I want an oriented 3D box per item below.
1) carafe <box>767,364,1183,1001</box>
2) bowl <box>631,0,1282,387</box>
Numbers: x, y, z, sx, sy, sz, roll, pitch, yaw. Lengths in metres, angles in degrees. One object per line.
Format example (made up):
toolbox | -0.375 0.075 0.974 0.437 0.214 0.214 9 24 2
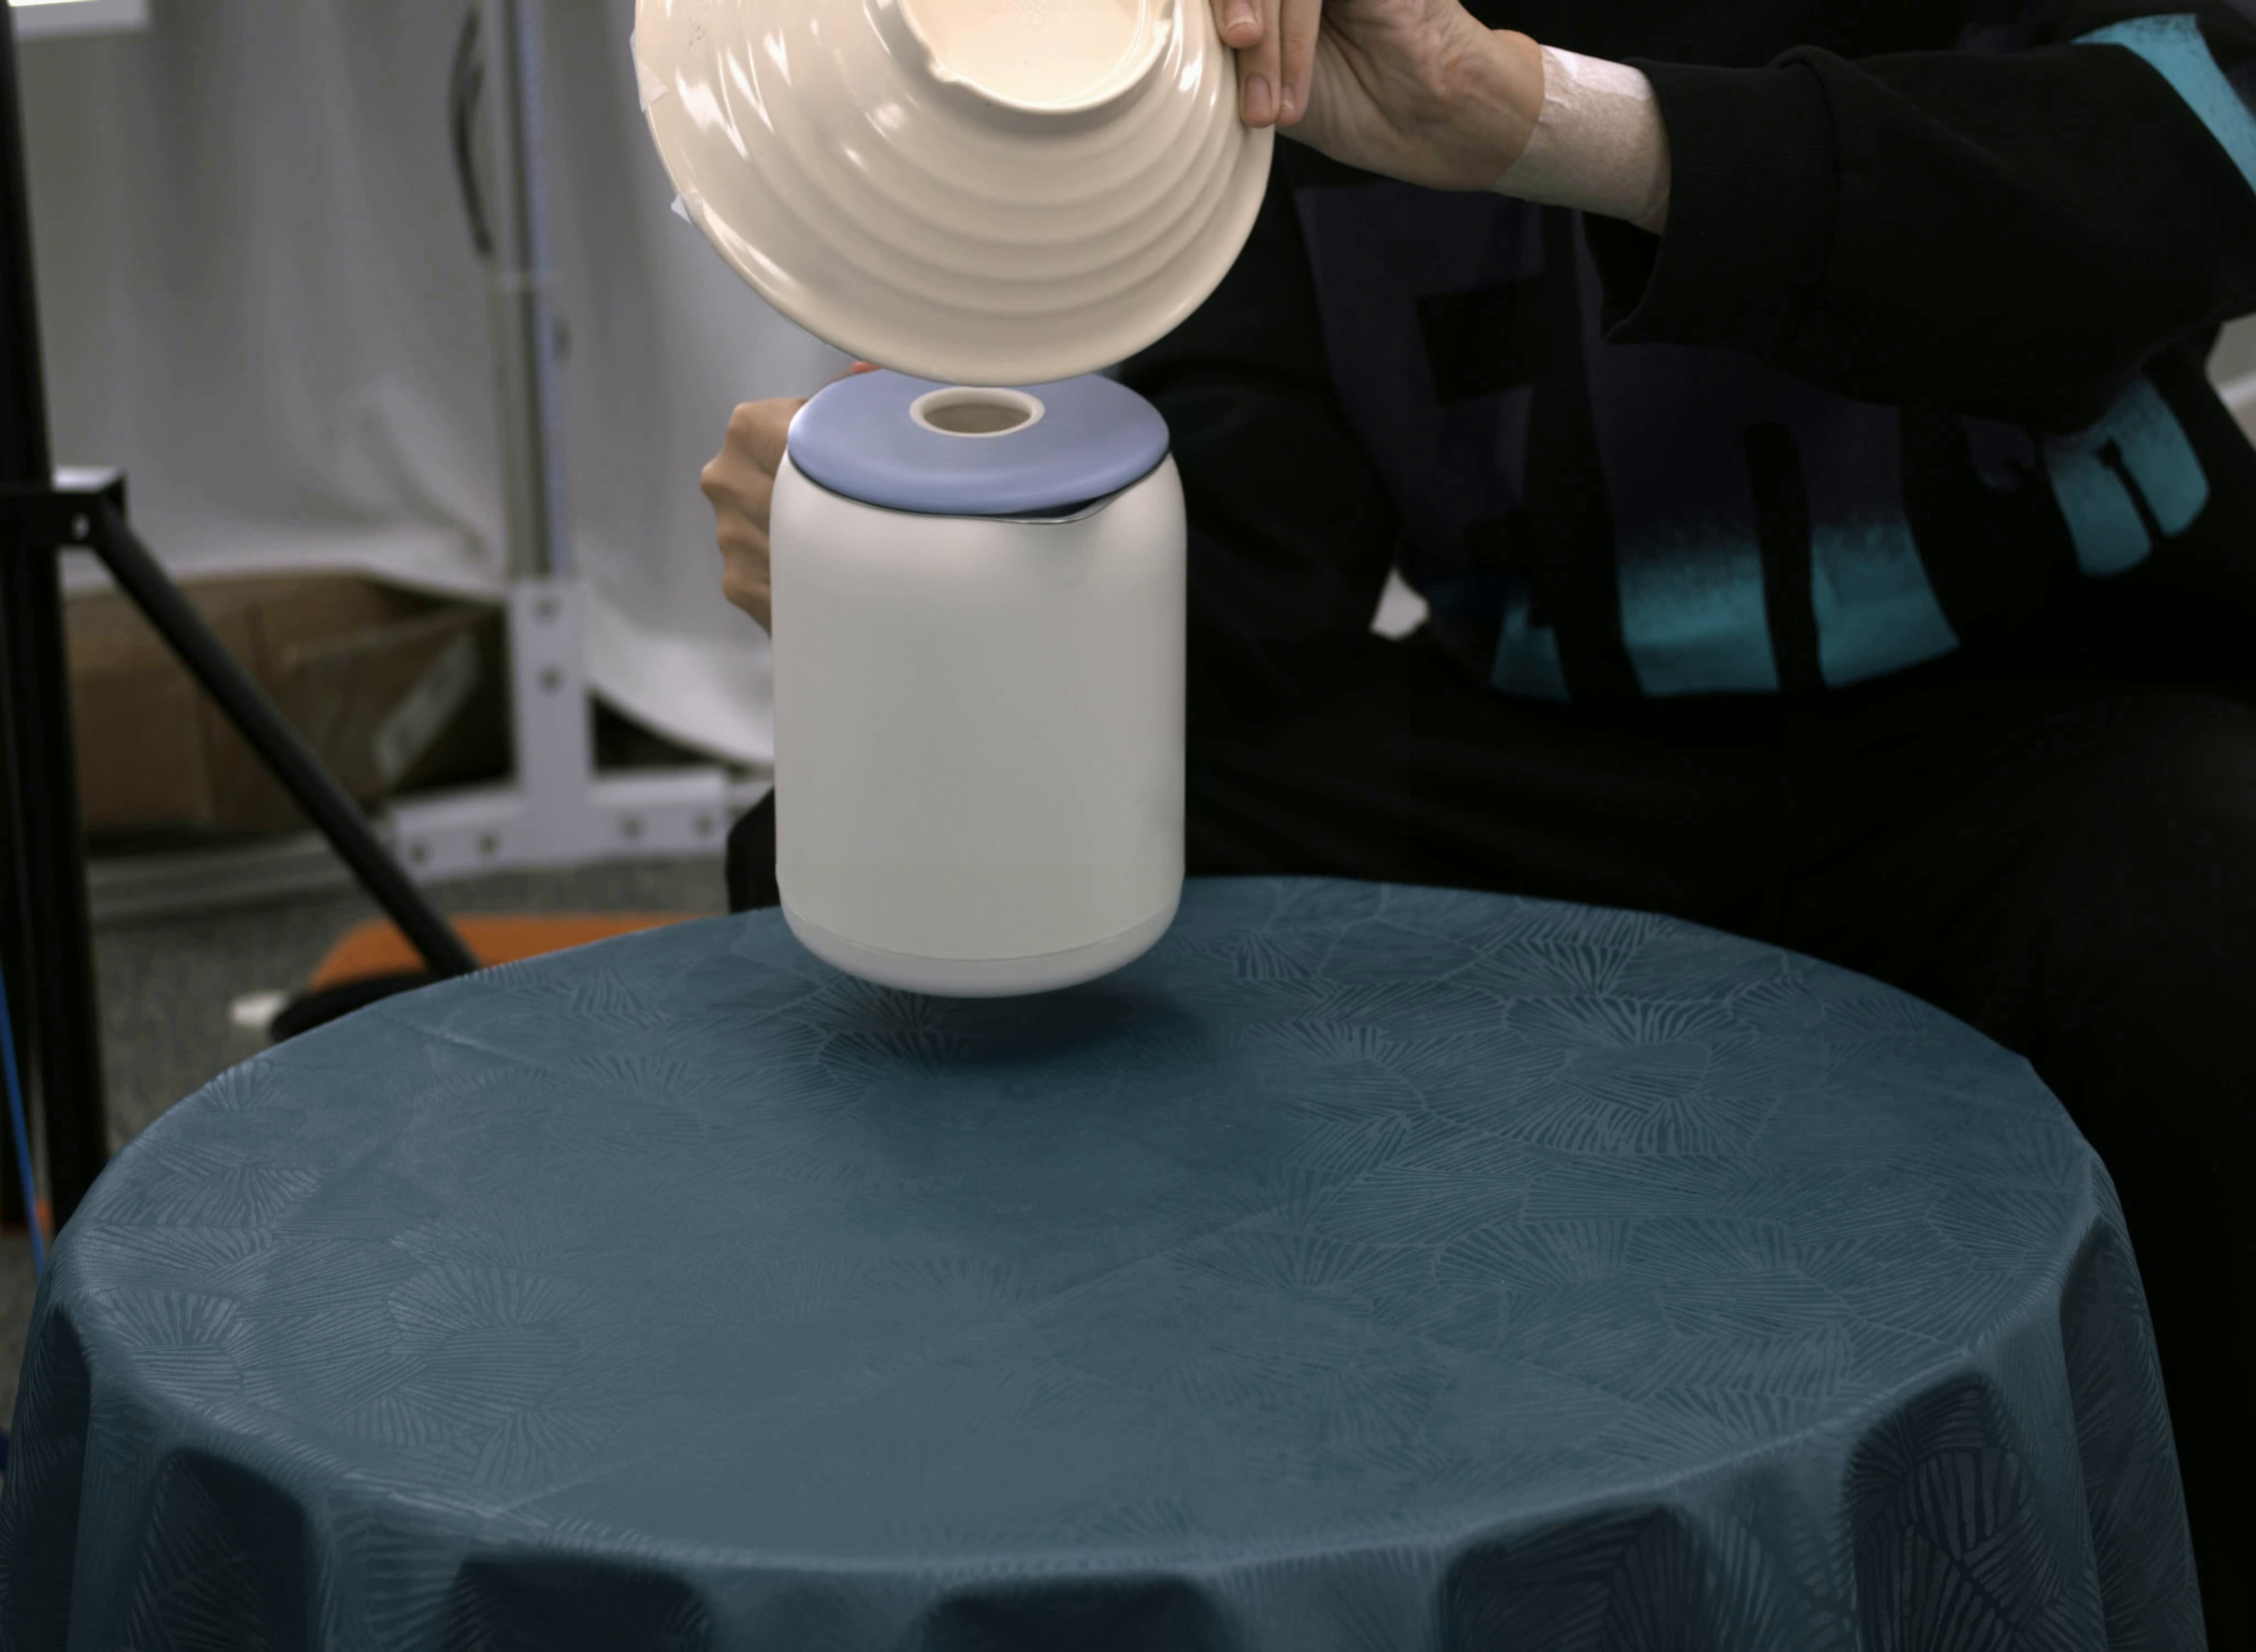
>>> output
carafe | -0.059 -0.056 1.706 0.129 0.182 0.195 -11 25 -24
bowl | -0.041 -0.238 1.581 0.200 0.206 0.078 -7 -14 -16
